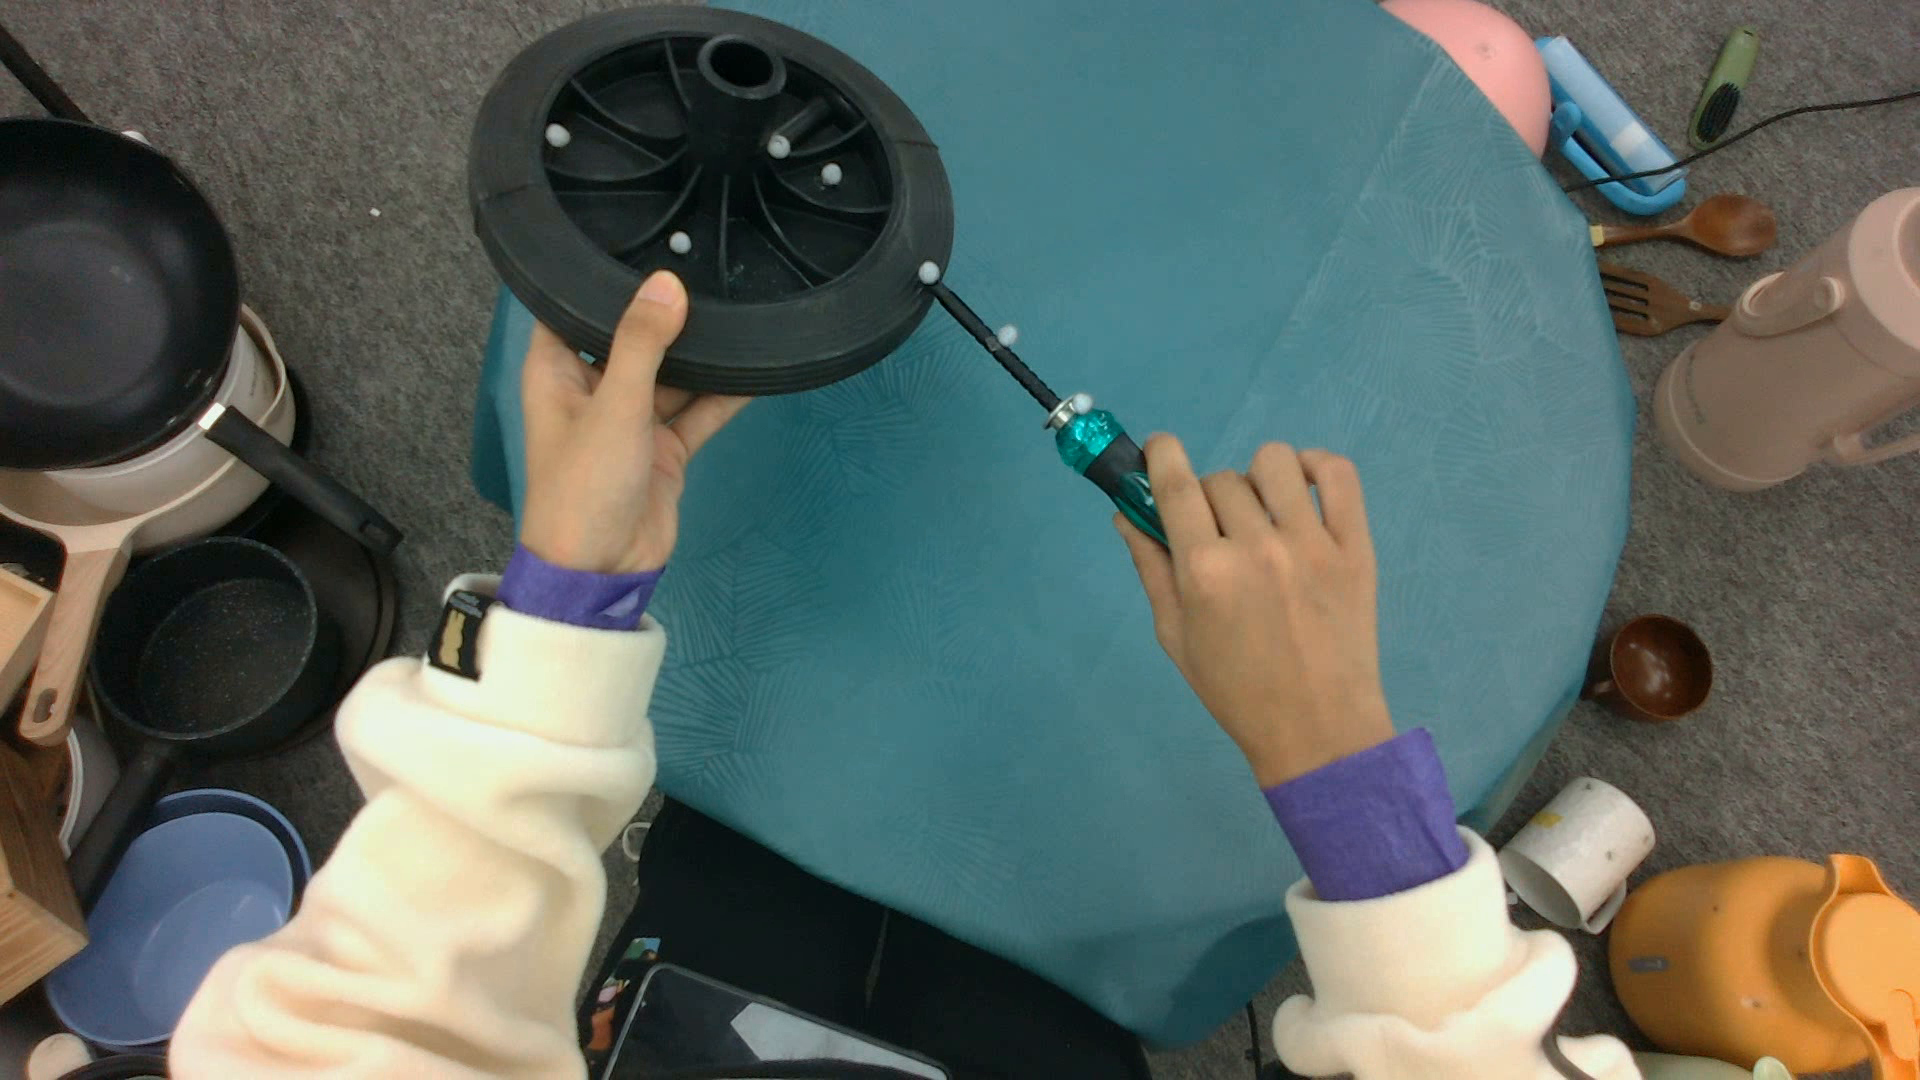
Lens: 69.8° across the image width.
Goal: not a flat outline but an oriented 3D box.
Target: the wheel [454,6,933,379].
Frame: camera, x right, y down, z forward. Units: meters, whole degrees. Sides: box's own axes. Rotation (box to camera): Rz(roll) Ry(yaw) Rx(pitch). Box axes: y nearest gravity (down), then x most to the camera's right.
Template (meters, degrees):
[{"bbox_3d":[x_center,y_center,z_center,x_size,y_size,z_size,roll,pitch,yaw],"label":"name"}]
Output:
[{"bbox_3d":[-0.096,-0.156,0.533,0.187,0.078,0.191,17,54,-8],"label":"wheel"}]

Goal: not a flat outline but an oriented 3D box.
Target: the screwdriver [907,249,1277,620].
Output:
[{"bbox_3d":[0.047,-0.045,0.525,0.034,0.033,0.190,-42,82,-16],"label":"screwdriver"}]
